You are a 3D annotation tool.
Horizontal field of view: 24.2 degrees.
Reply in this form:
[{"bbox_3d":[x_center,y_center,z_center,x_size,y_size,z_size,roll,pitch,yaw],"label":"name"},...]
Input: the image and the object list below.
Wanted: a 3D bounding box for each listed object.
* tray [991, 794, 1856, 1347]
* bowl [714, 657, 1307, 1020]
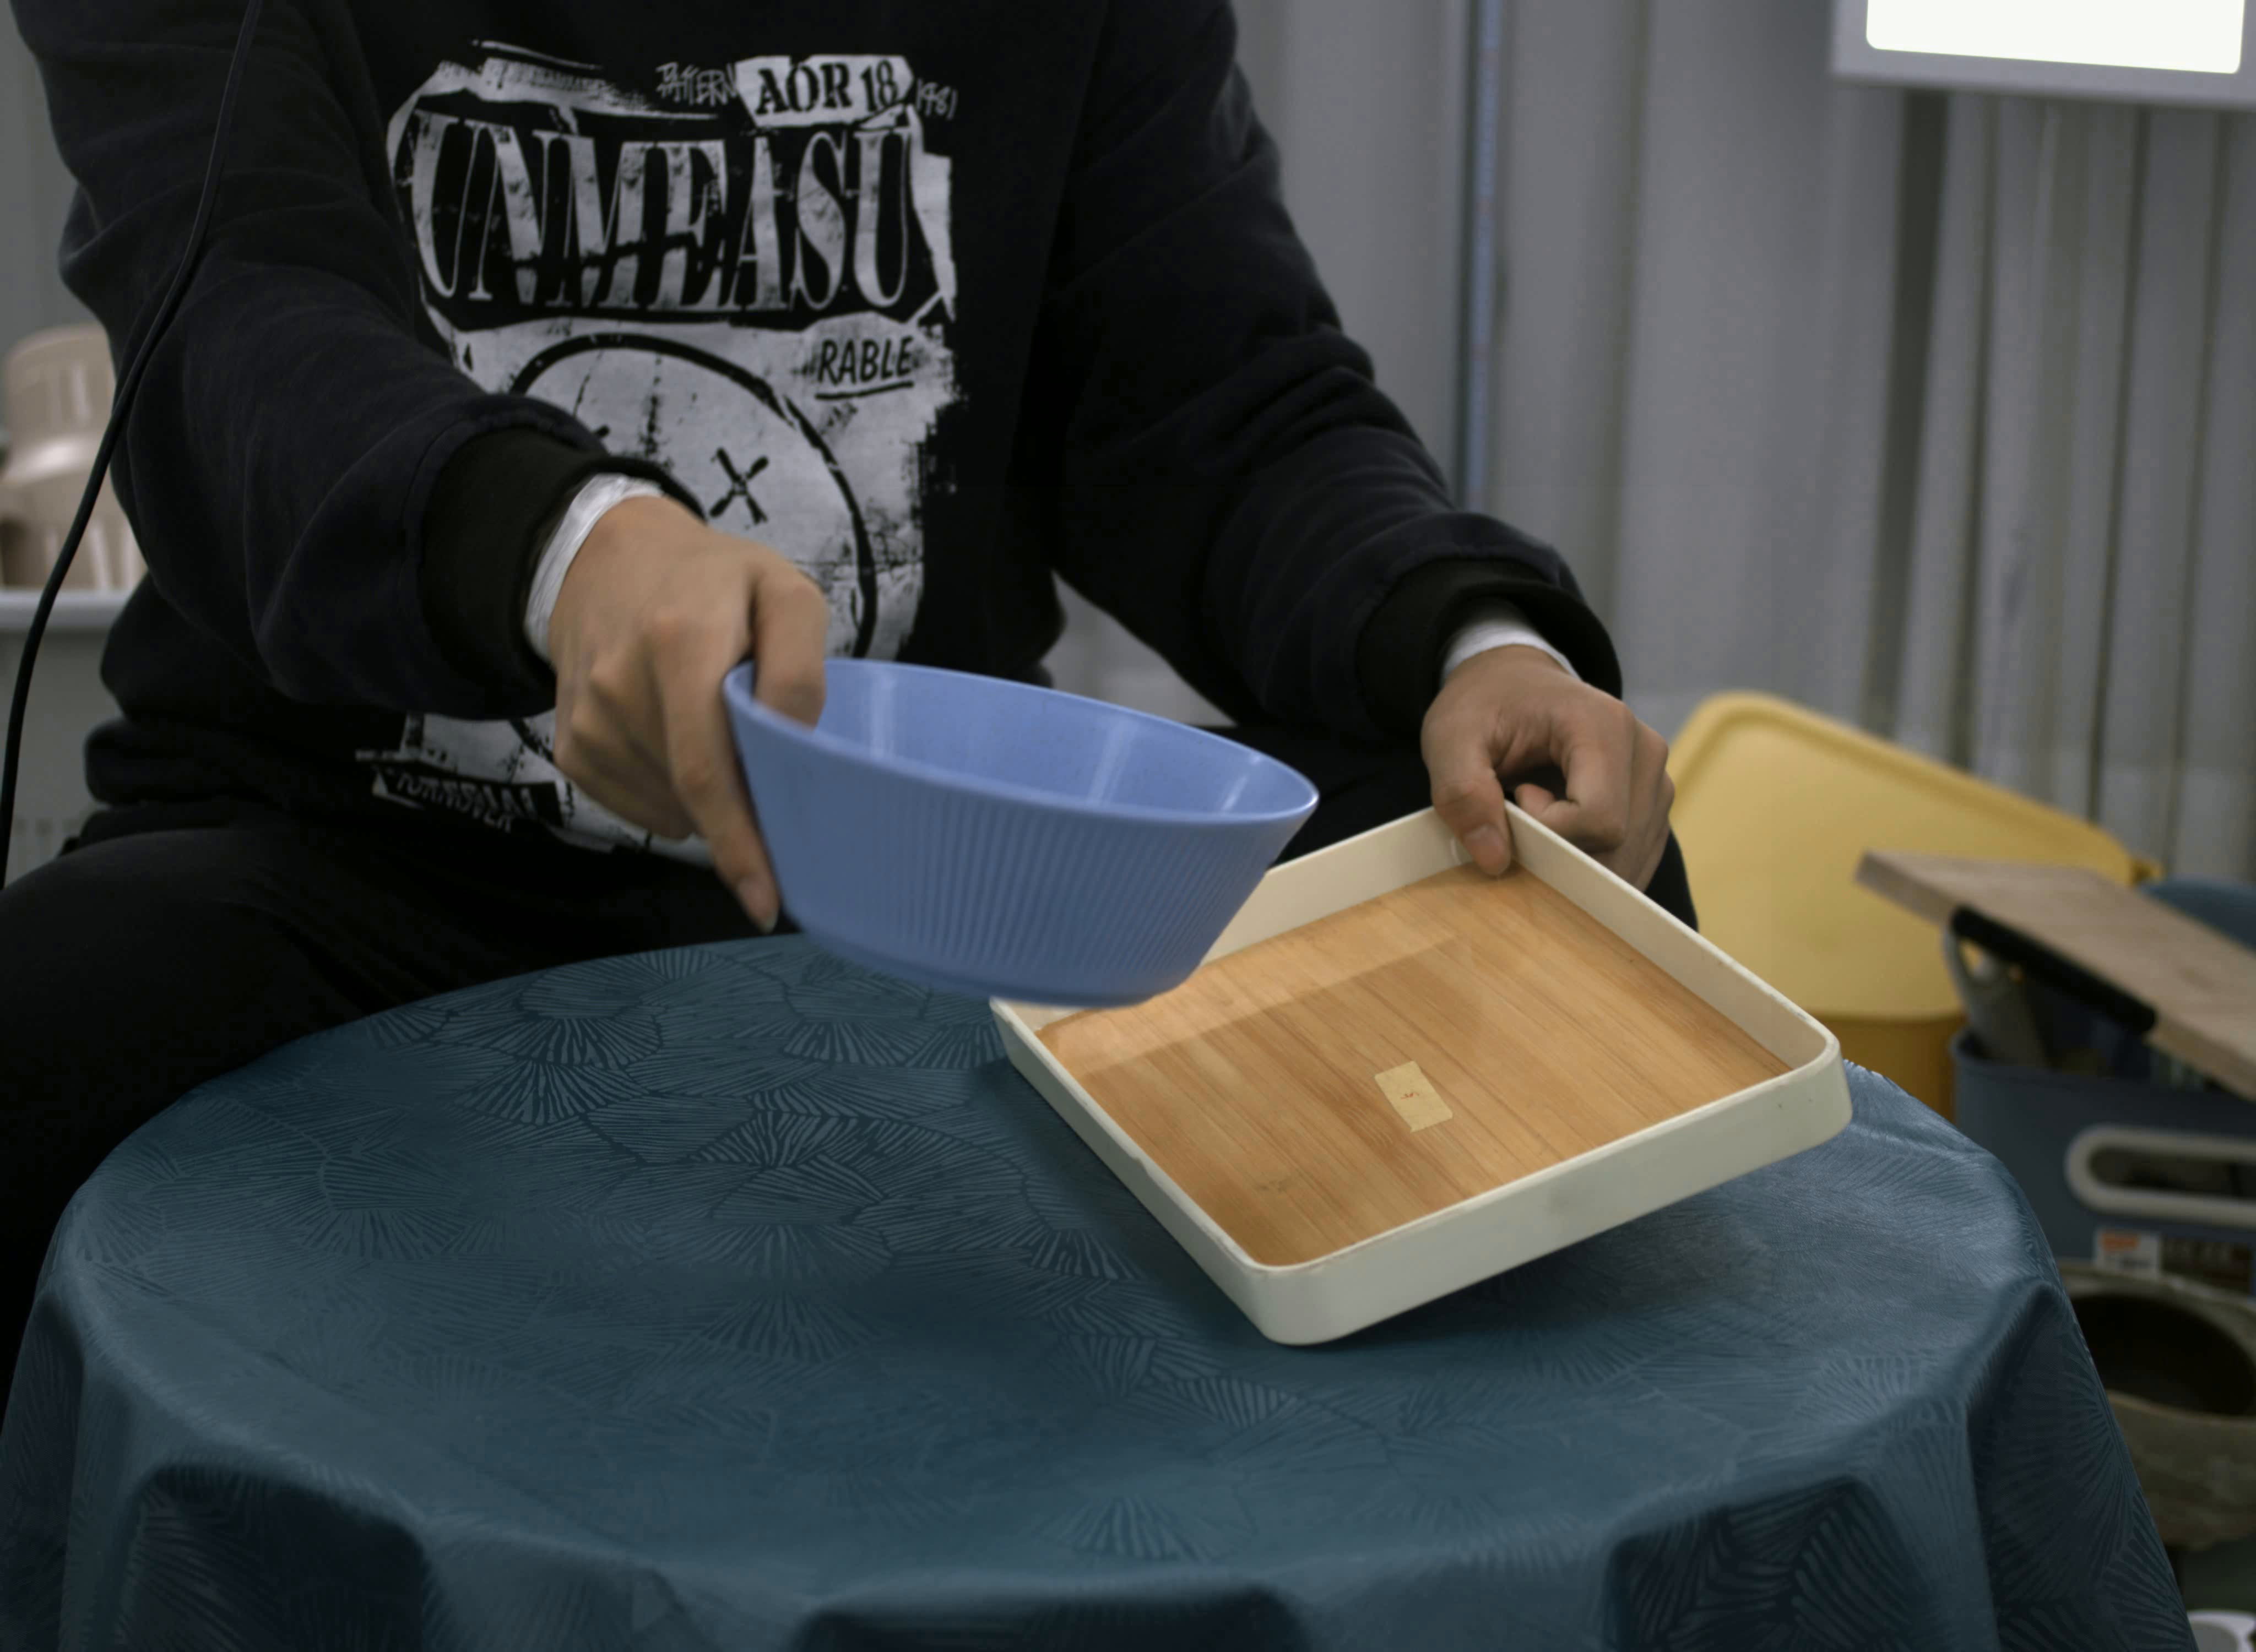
[{"bbox_3d":[0.084,0.070,1.640,0.191,0.028,0.297,-20,21,-12],"label":"tray"},{"bbox_3d":[-0.040,0.006,1.527,0.176,0.071,0.175,12,13,-2],"label":"bowl"}]
